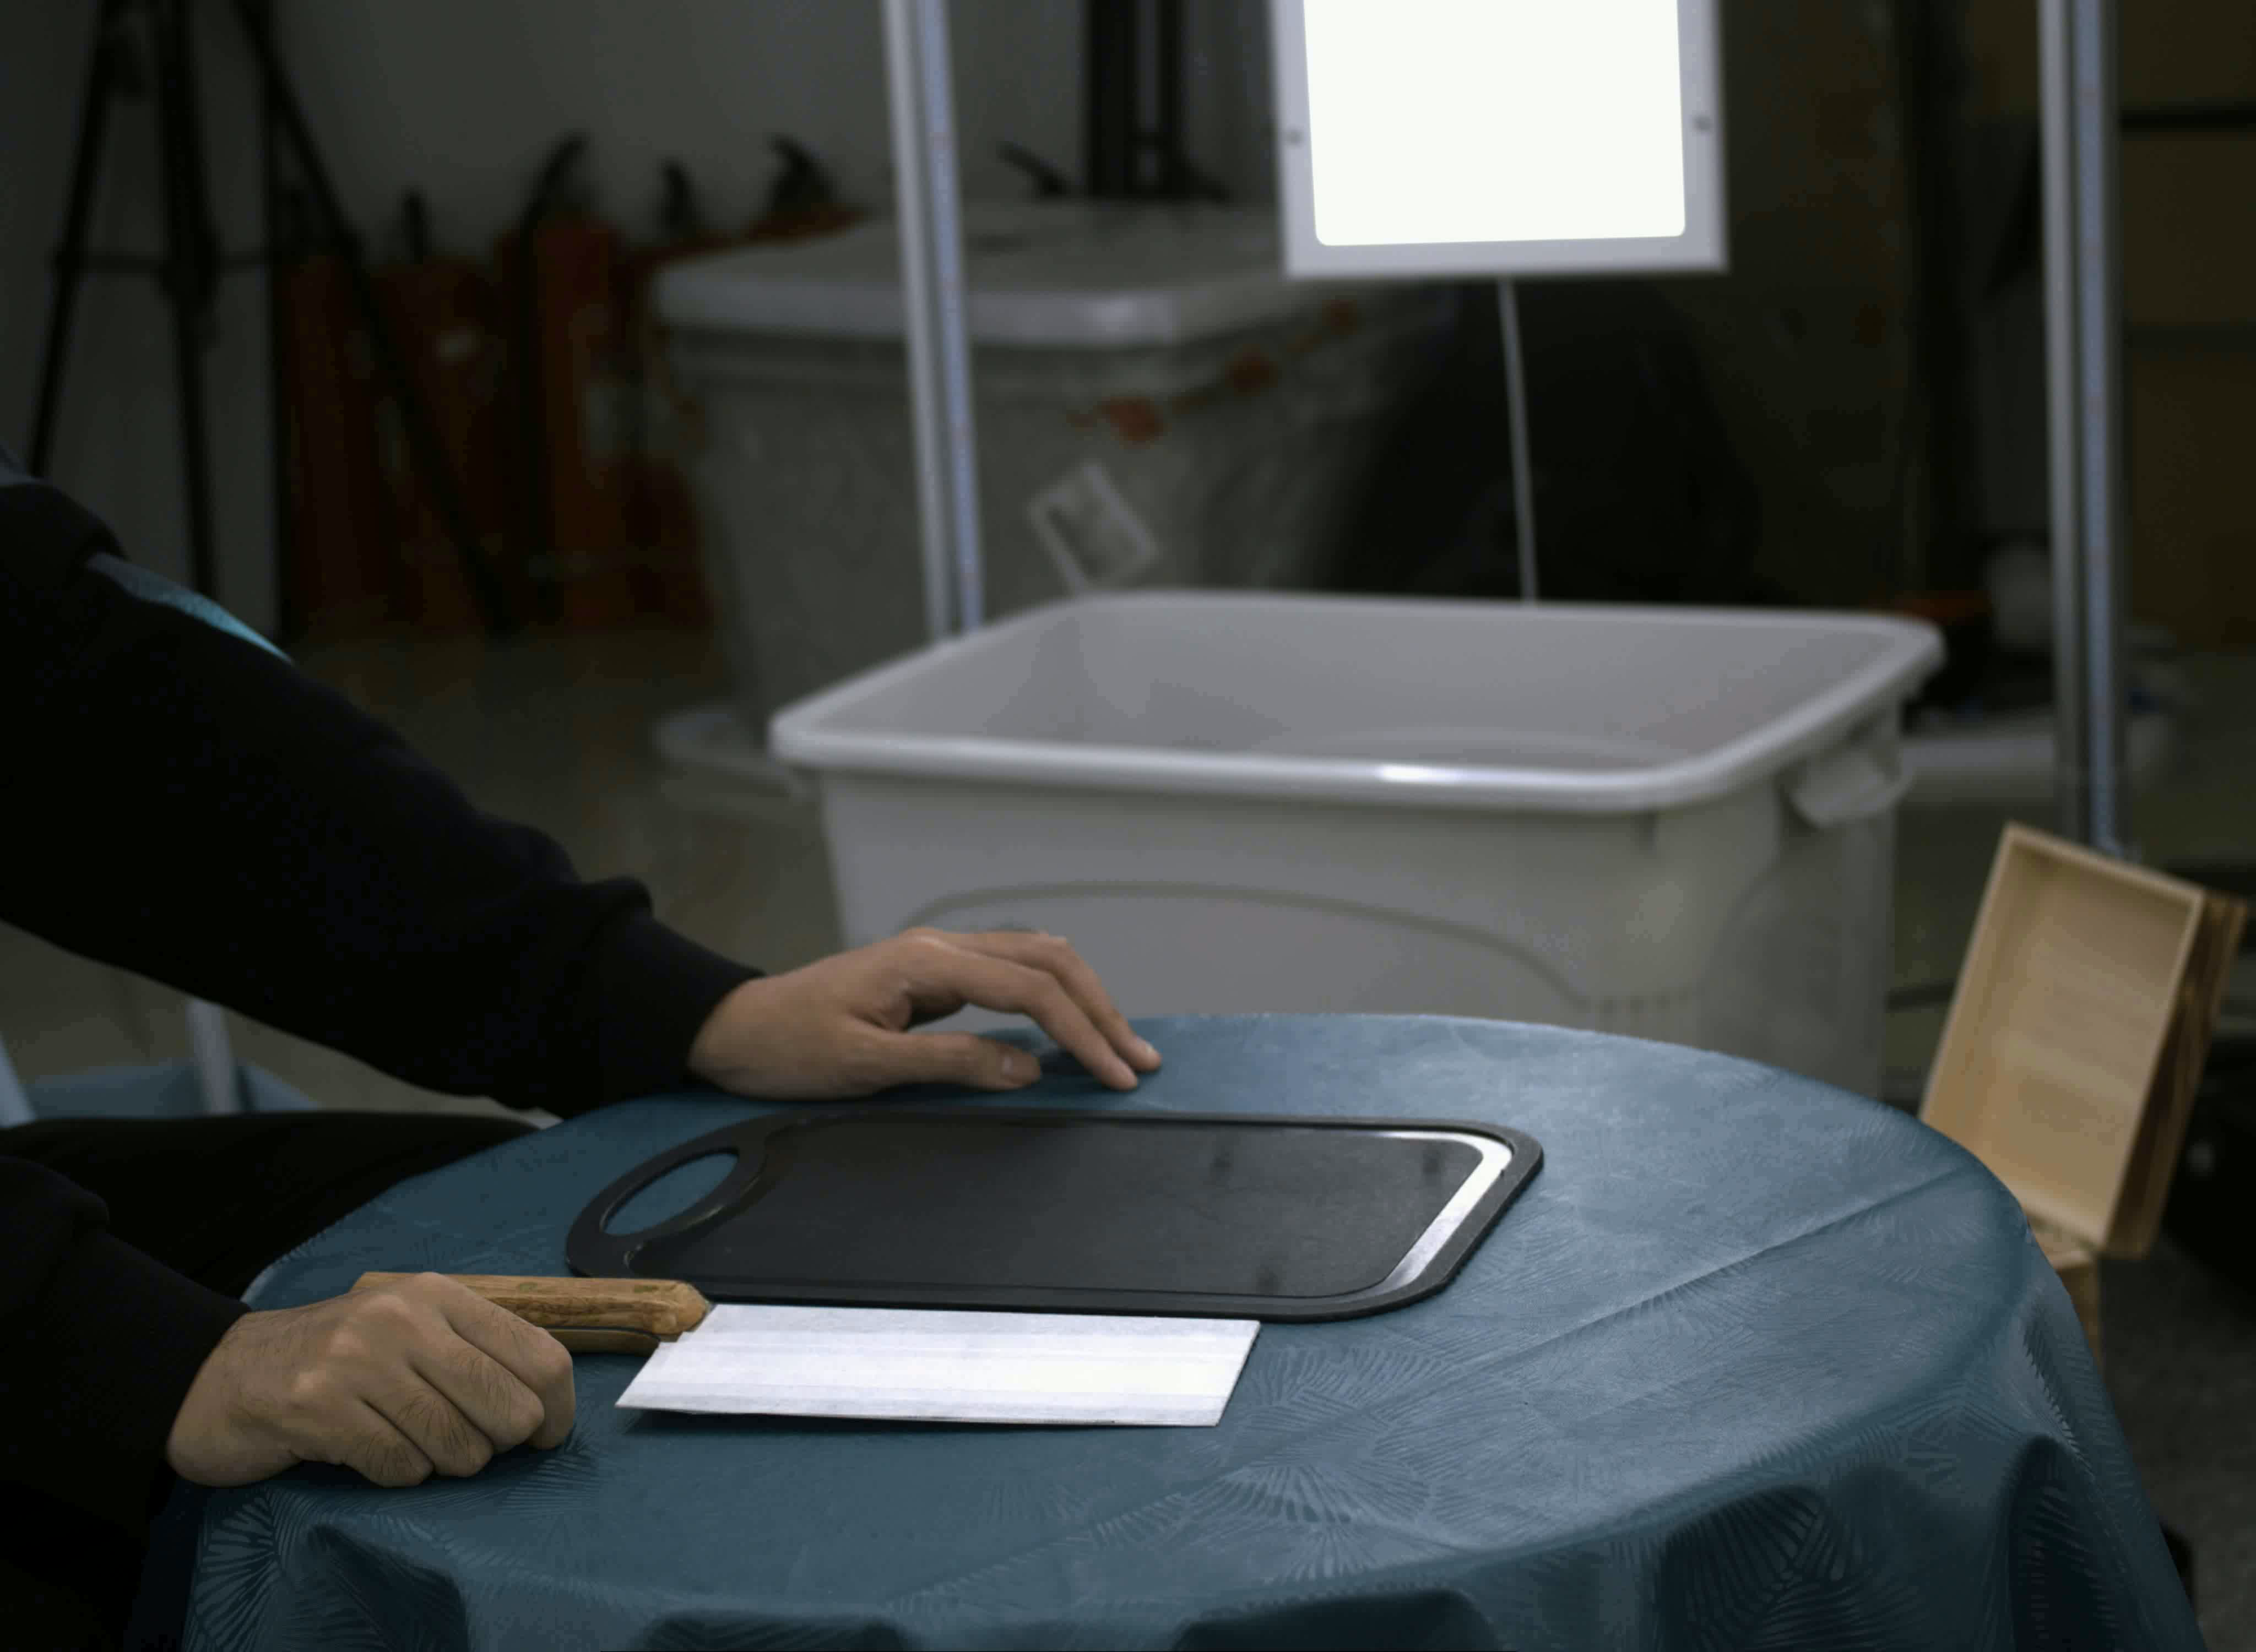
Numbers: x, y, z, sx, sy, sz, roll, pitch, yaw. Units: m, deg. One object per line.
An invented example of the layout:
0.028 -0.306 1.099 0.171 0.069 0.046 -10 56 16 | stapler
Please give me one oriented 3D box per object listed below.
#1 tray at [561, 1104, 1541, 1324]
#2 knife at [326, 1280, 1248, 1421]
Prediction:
-0.032 0.129 1.886 0.330 0.010 0.207 0 15 21 | tray
-0.114 0.168 1.740 0.308 0.021 0.092 0 16 13 | knife
